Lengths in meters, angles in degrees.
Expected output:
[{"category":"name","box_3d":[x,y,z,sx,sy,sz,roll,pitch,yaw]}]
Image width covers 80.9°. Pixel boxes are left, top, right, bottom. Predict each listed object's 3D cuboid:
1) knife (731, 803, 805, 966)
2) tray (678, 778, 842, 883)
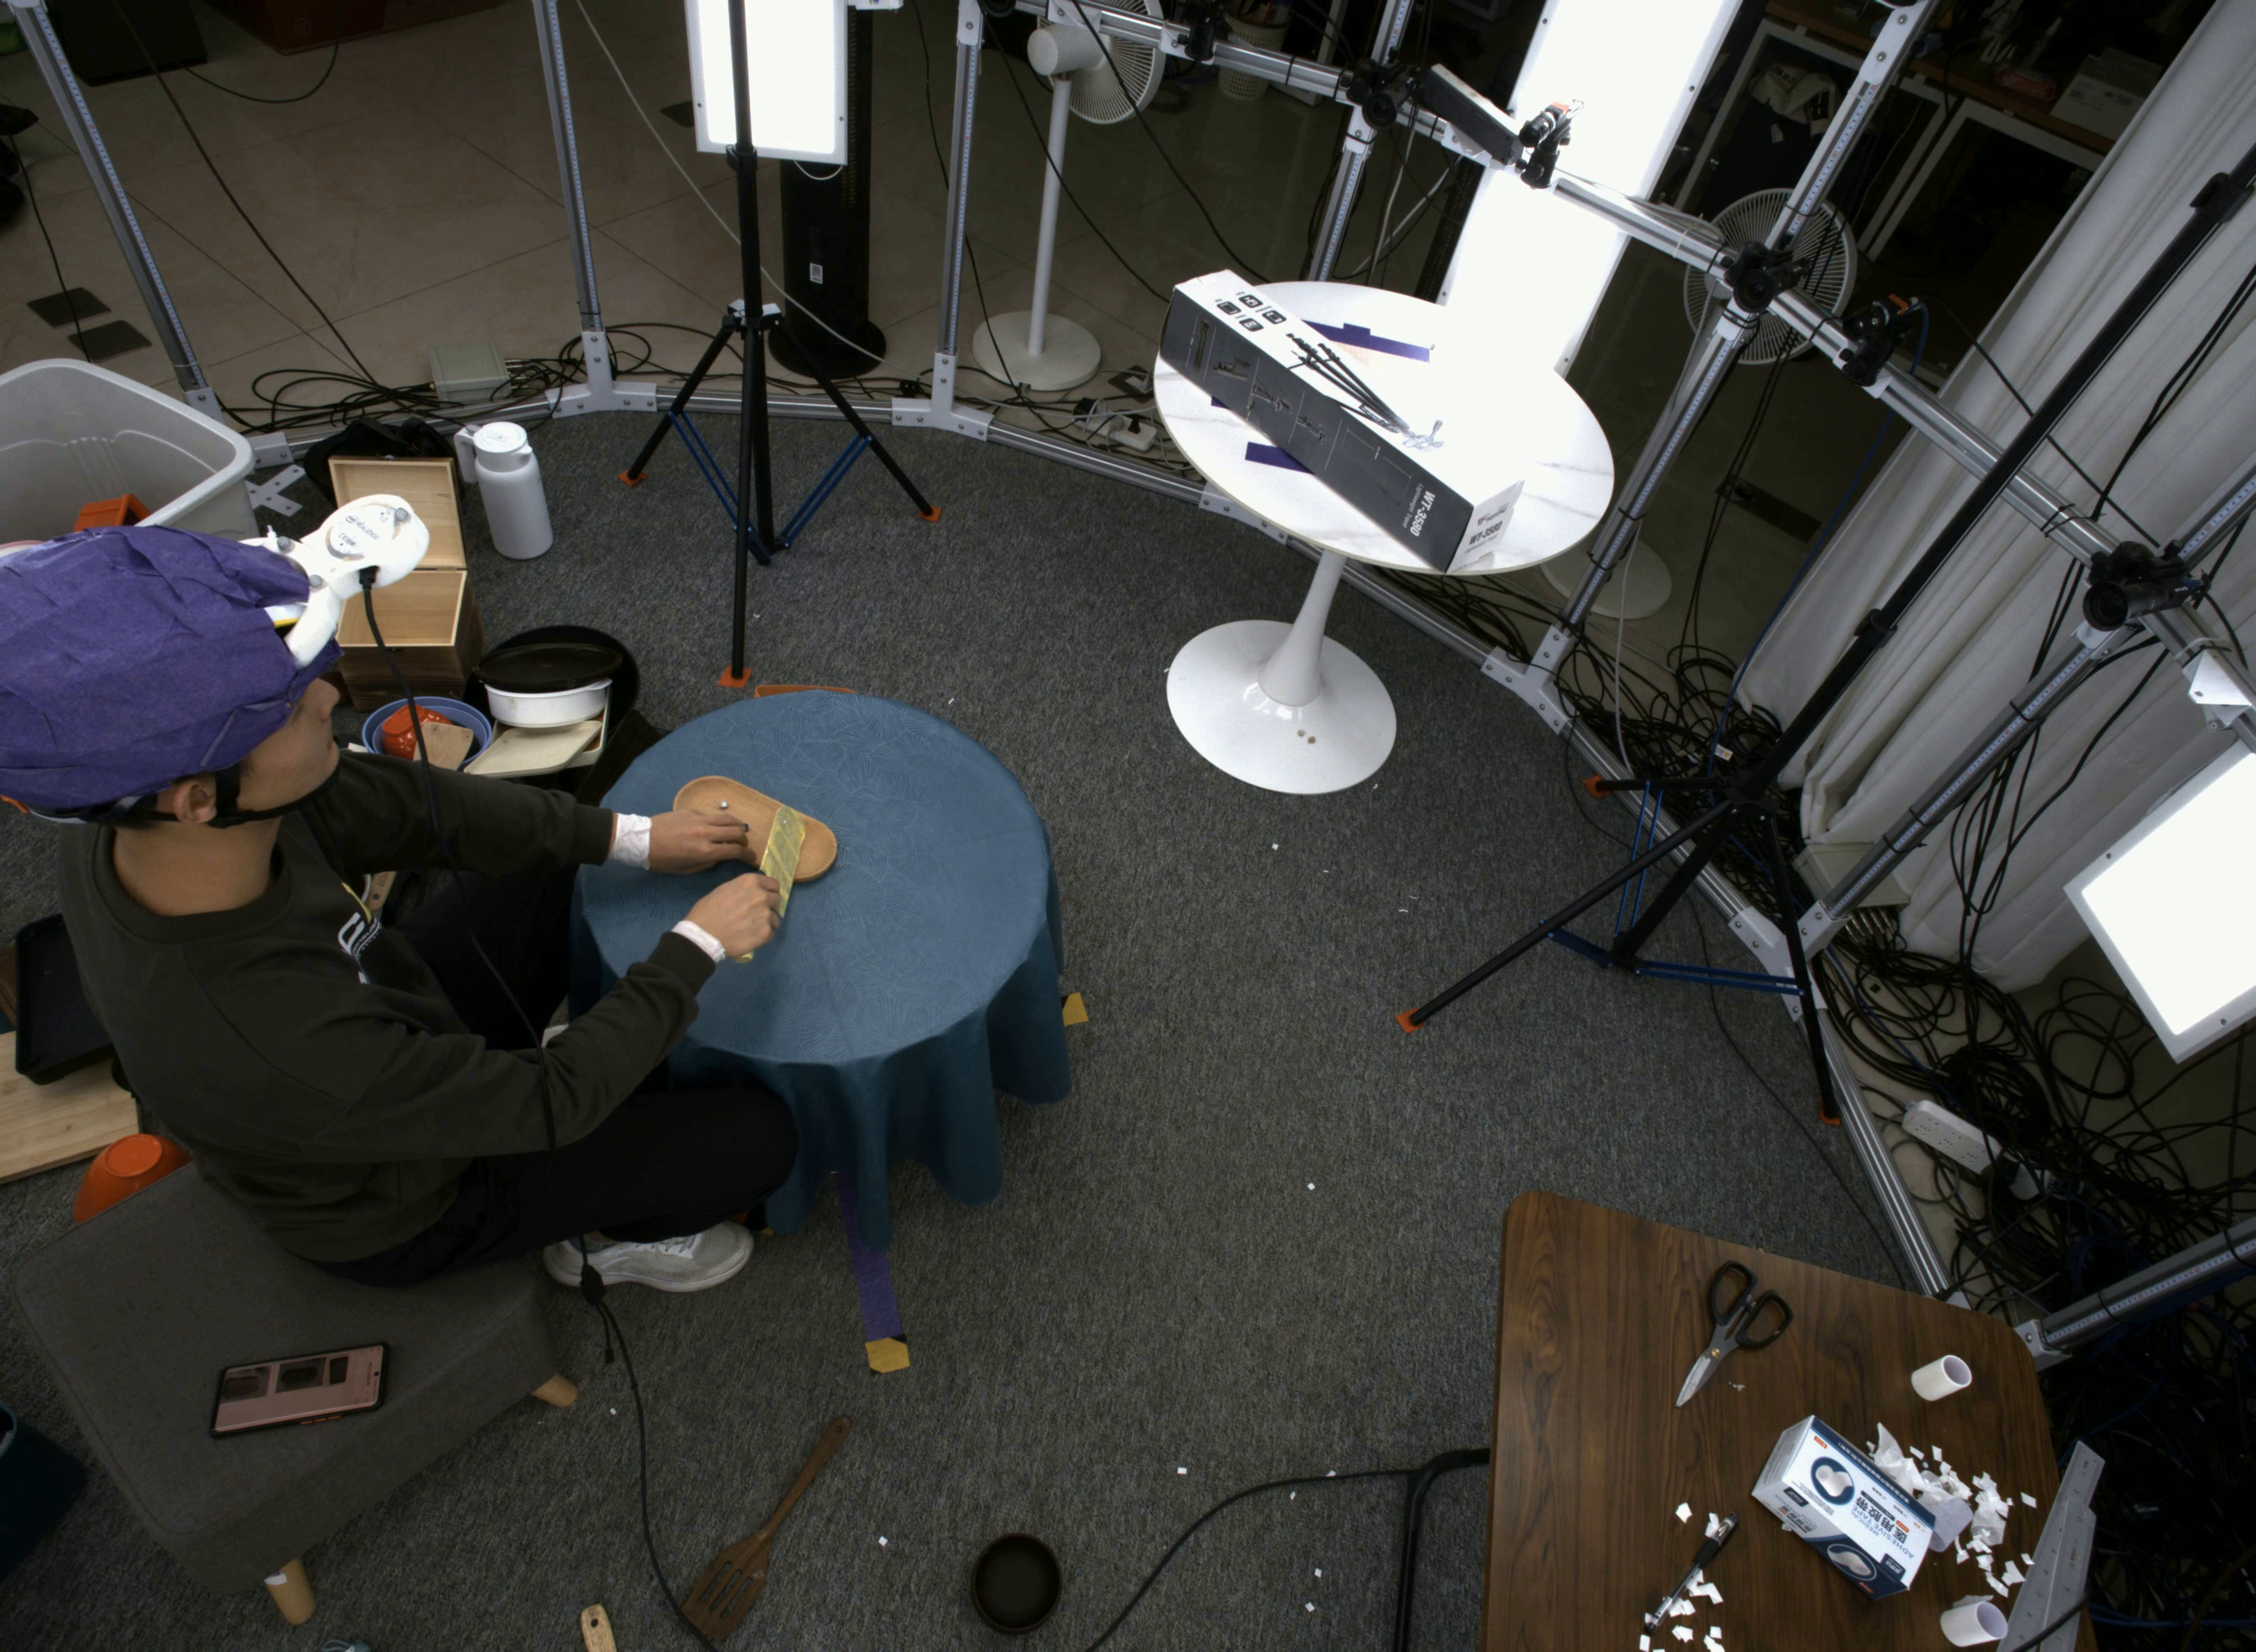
[{"category":"knife","box_3d":[-0.437,0.070,1.592,0.027,0.084,0.283,-12,38,13]},{"category":"tray","box_3d":[-0.486,0.004,1.705,0.228,0.021,0.101,25,54,3]}]
